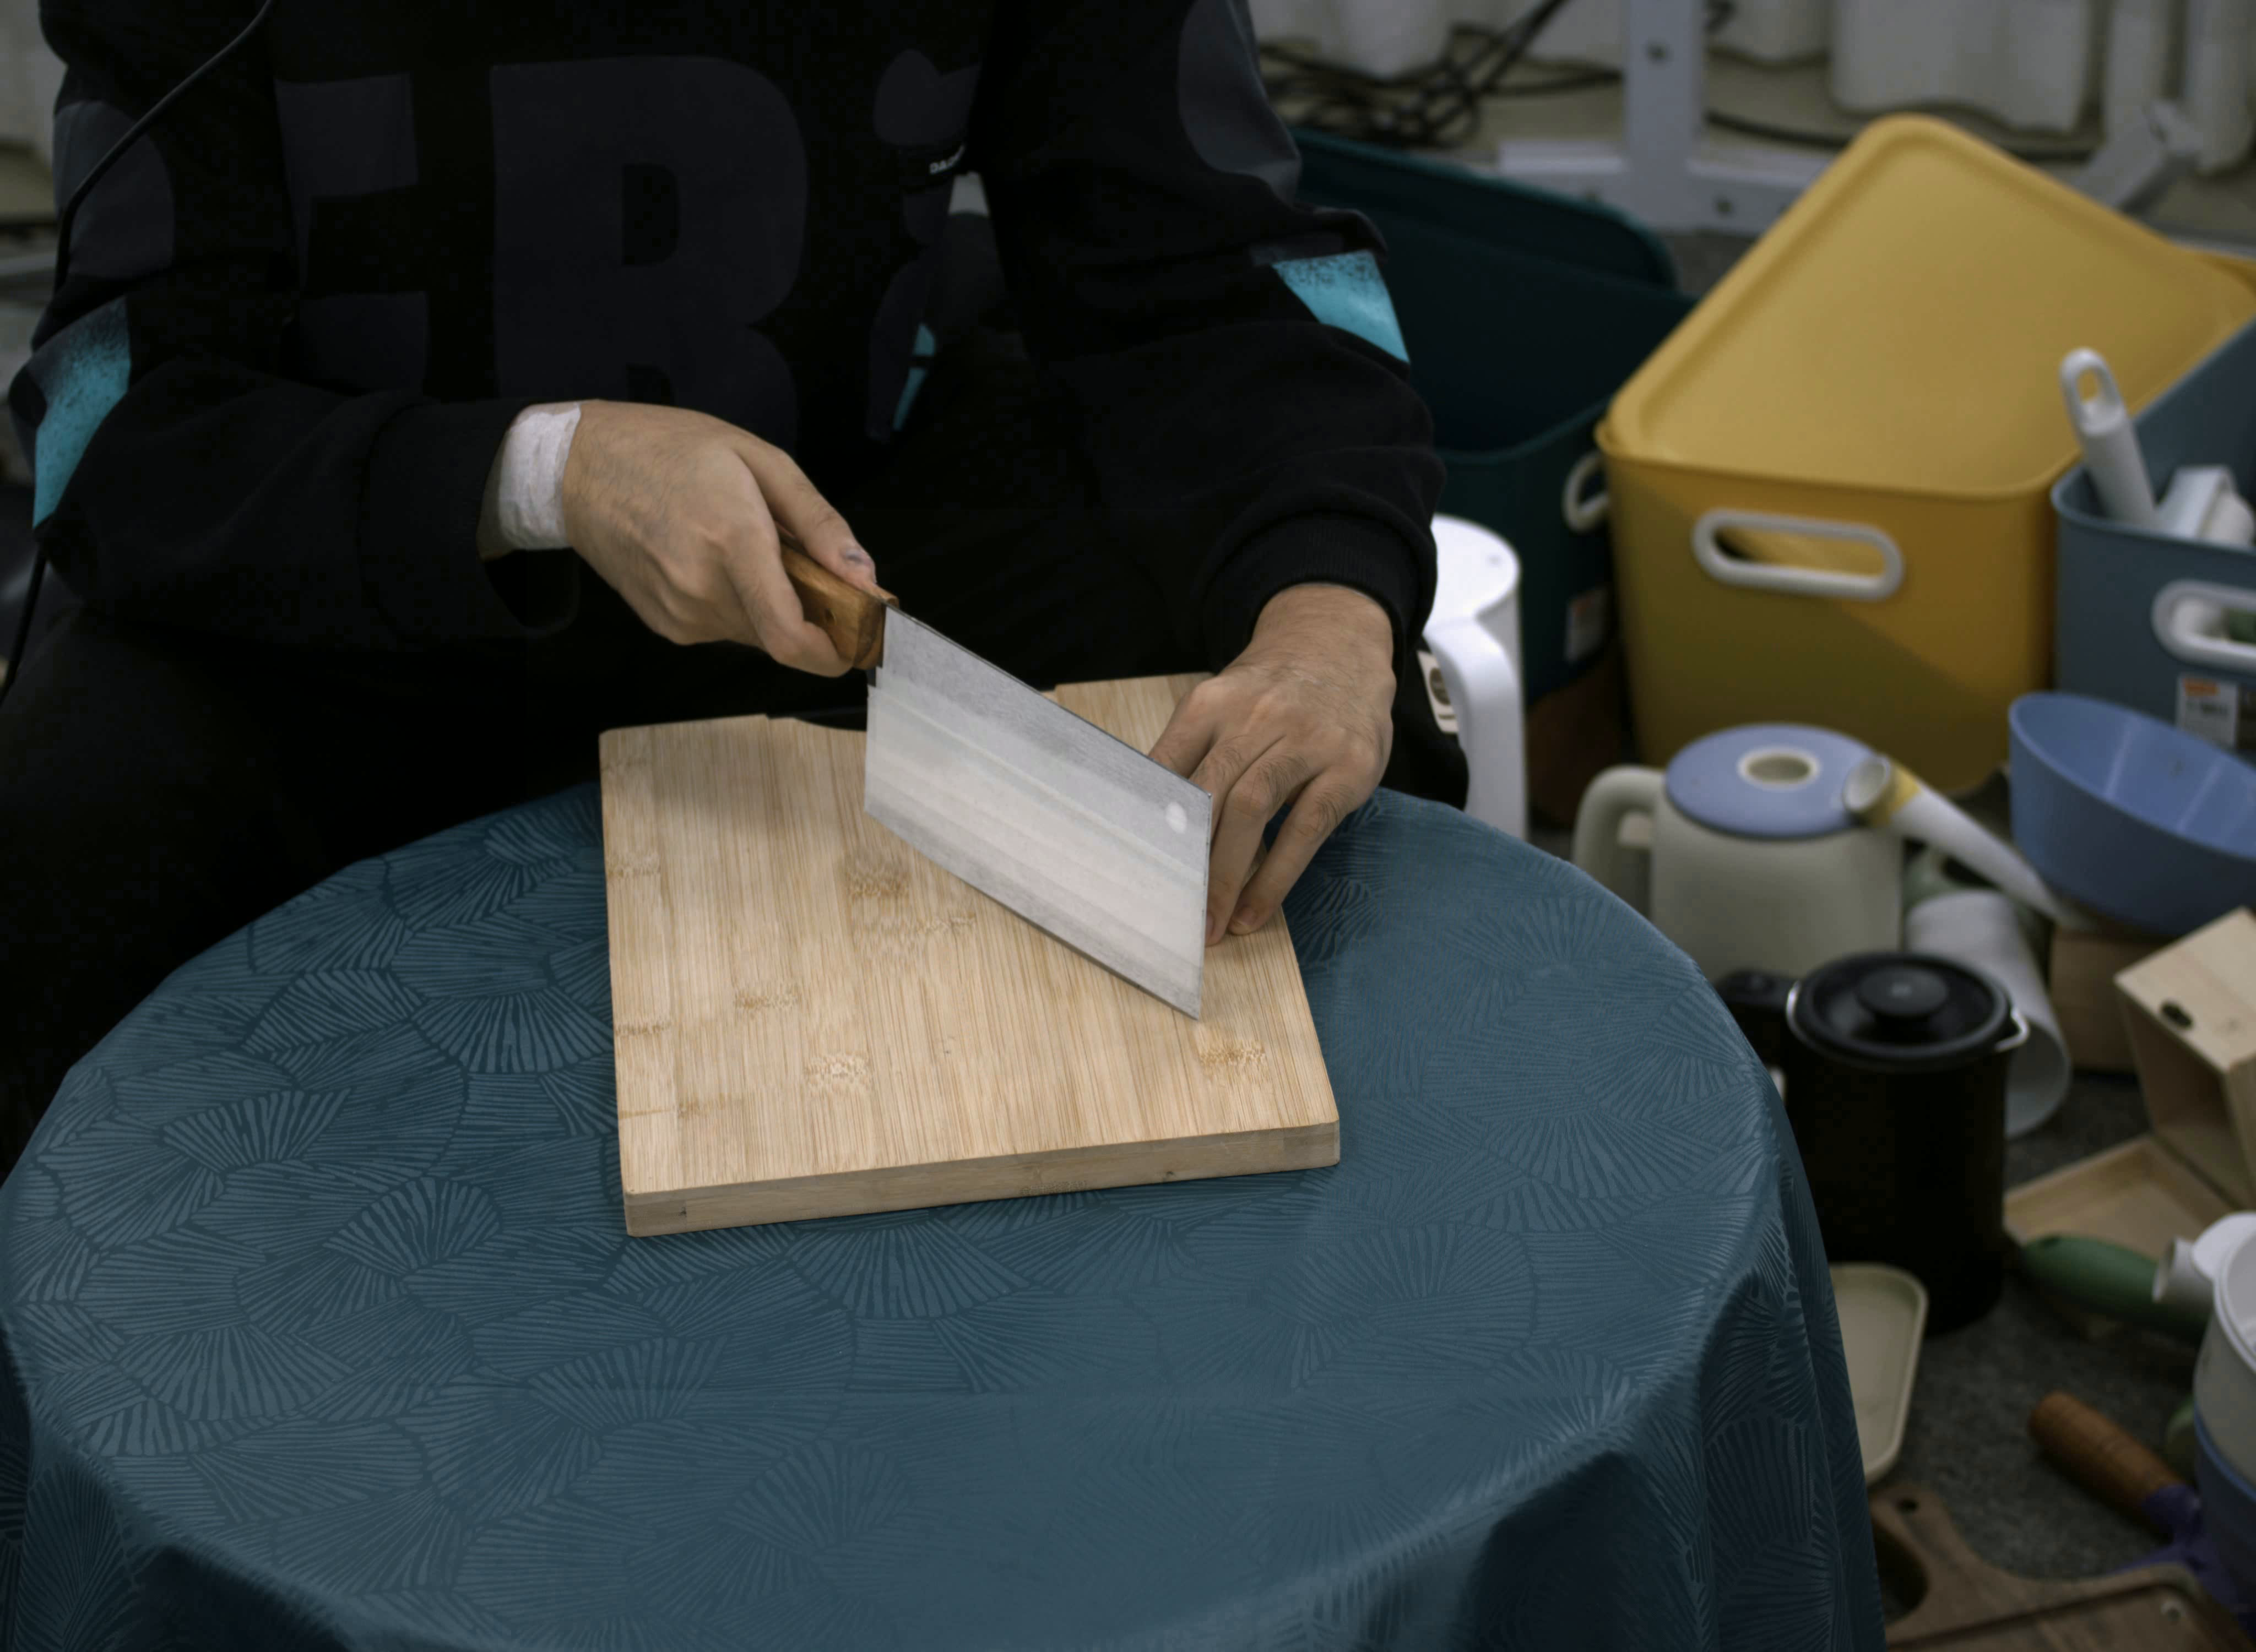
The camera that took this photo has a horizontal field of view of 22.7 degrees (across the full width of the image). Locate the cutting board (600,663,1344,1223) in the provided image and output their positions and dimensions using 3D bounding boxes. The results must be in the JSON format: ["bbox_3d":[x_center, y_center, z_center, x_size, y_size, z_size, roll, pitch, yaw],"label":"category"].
[{"bbox_3d":[-0.065,0.037,2.013,0.250,0.023,0.353,-6,28,-5],"label":"cutting board"}]

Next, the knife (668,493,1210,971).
[{"bbox_3d":[-0.070,-0.032,2.005,0.021,0.092,0.306,-18,34,-36],"label":"knife"}]
